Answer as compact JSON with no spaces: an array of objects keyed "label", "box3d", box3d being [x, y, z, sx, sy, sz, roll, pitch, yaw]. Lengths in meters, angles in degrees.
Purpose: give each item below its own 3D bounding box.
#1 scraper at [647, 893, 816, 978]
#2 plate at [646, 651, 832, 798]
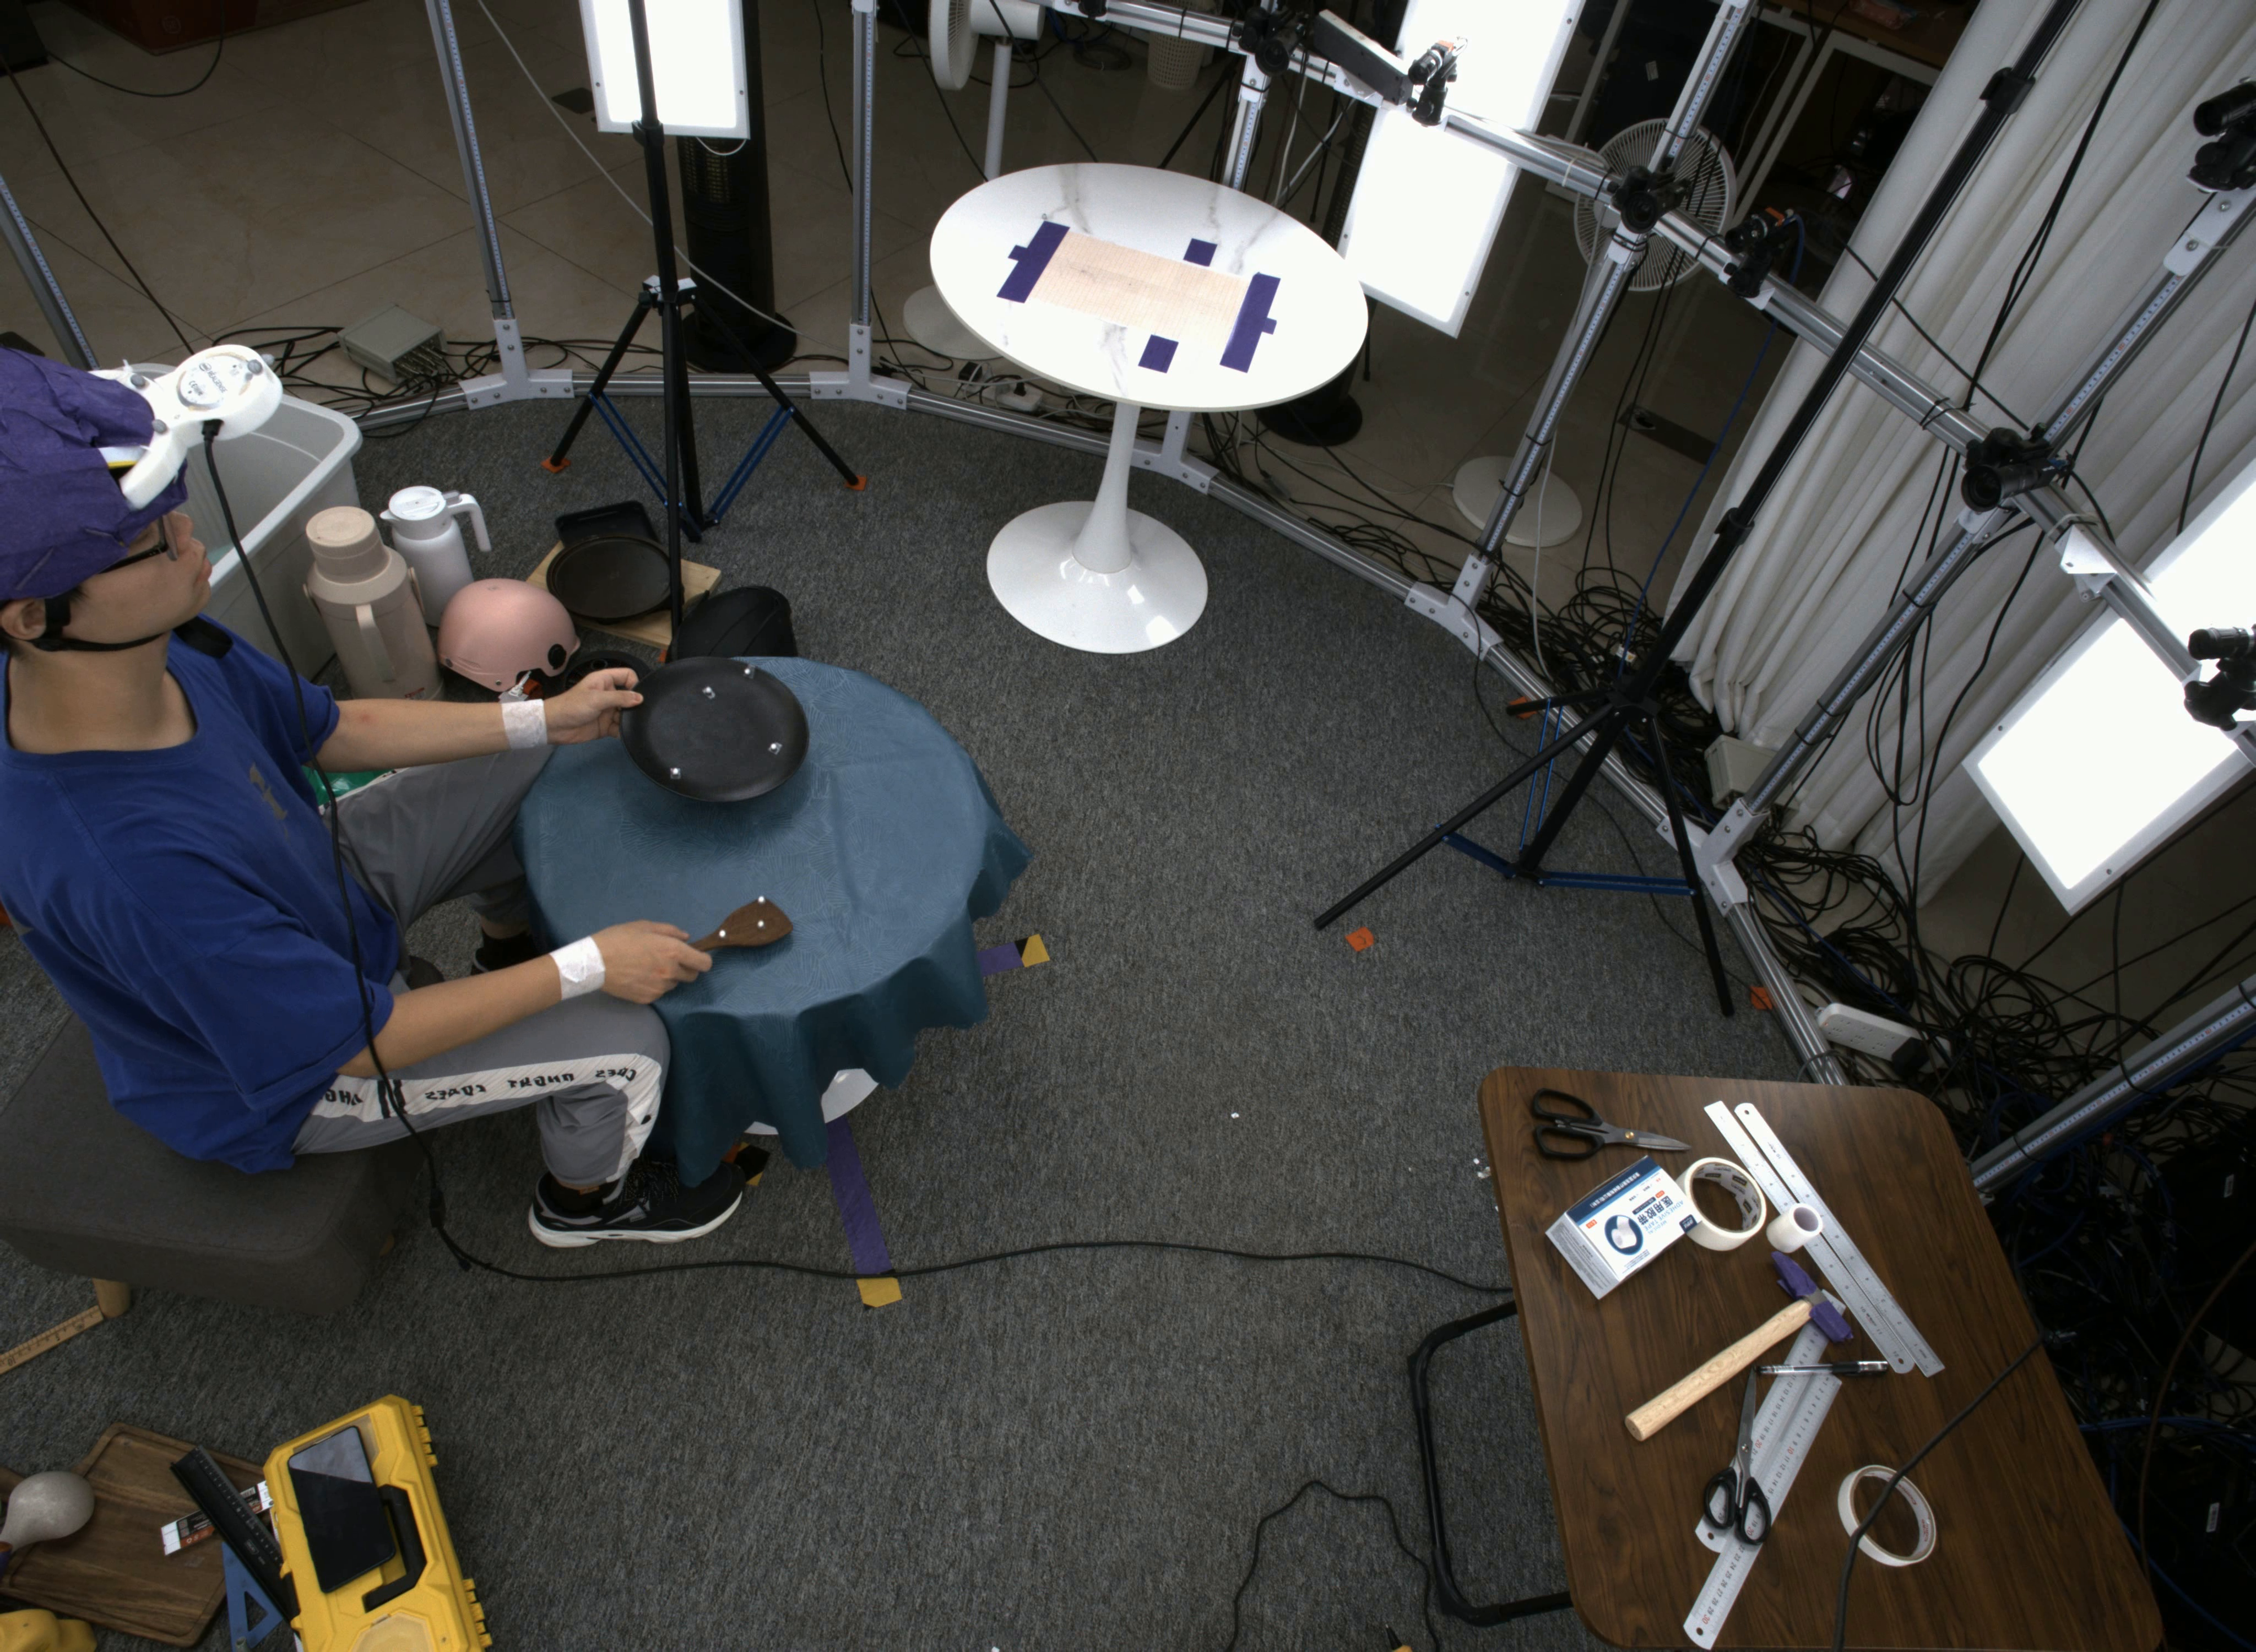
[{"label":"scraper","box3d":[-0.487,0.136,1.580,0.213,0.011,0.073,-23,51,-38]},{"label":"plate","box3d":[-0.518,-0.133,1.721,0.246,0.023,0.240,13,54,-16]}]
